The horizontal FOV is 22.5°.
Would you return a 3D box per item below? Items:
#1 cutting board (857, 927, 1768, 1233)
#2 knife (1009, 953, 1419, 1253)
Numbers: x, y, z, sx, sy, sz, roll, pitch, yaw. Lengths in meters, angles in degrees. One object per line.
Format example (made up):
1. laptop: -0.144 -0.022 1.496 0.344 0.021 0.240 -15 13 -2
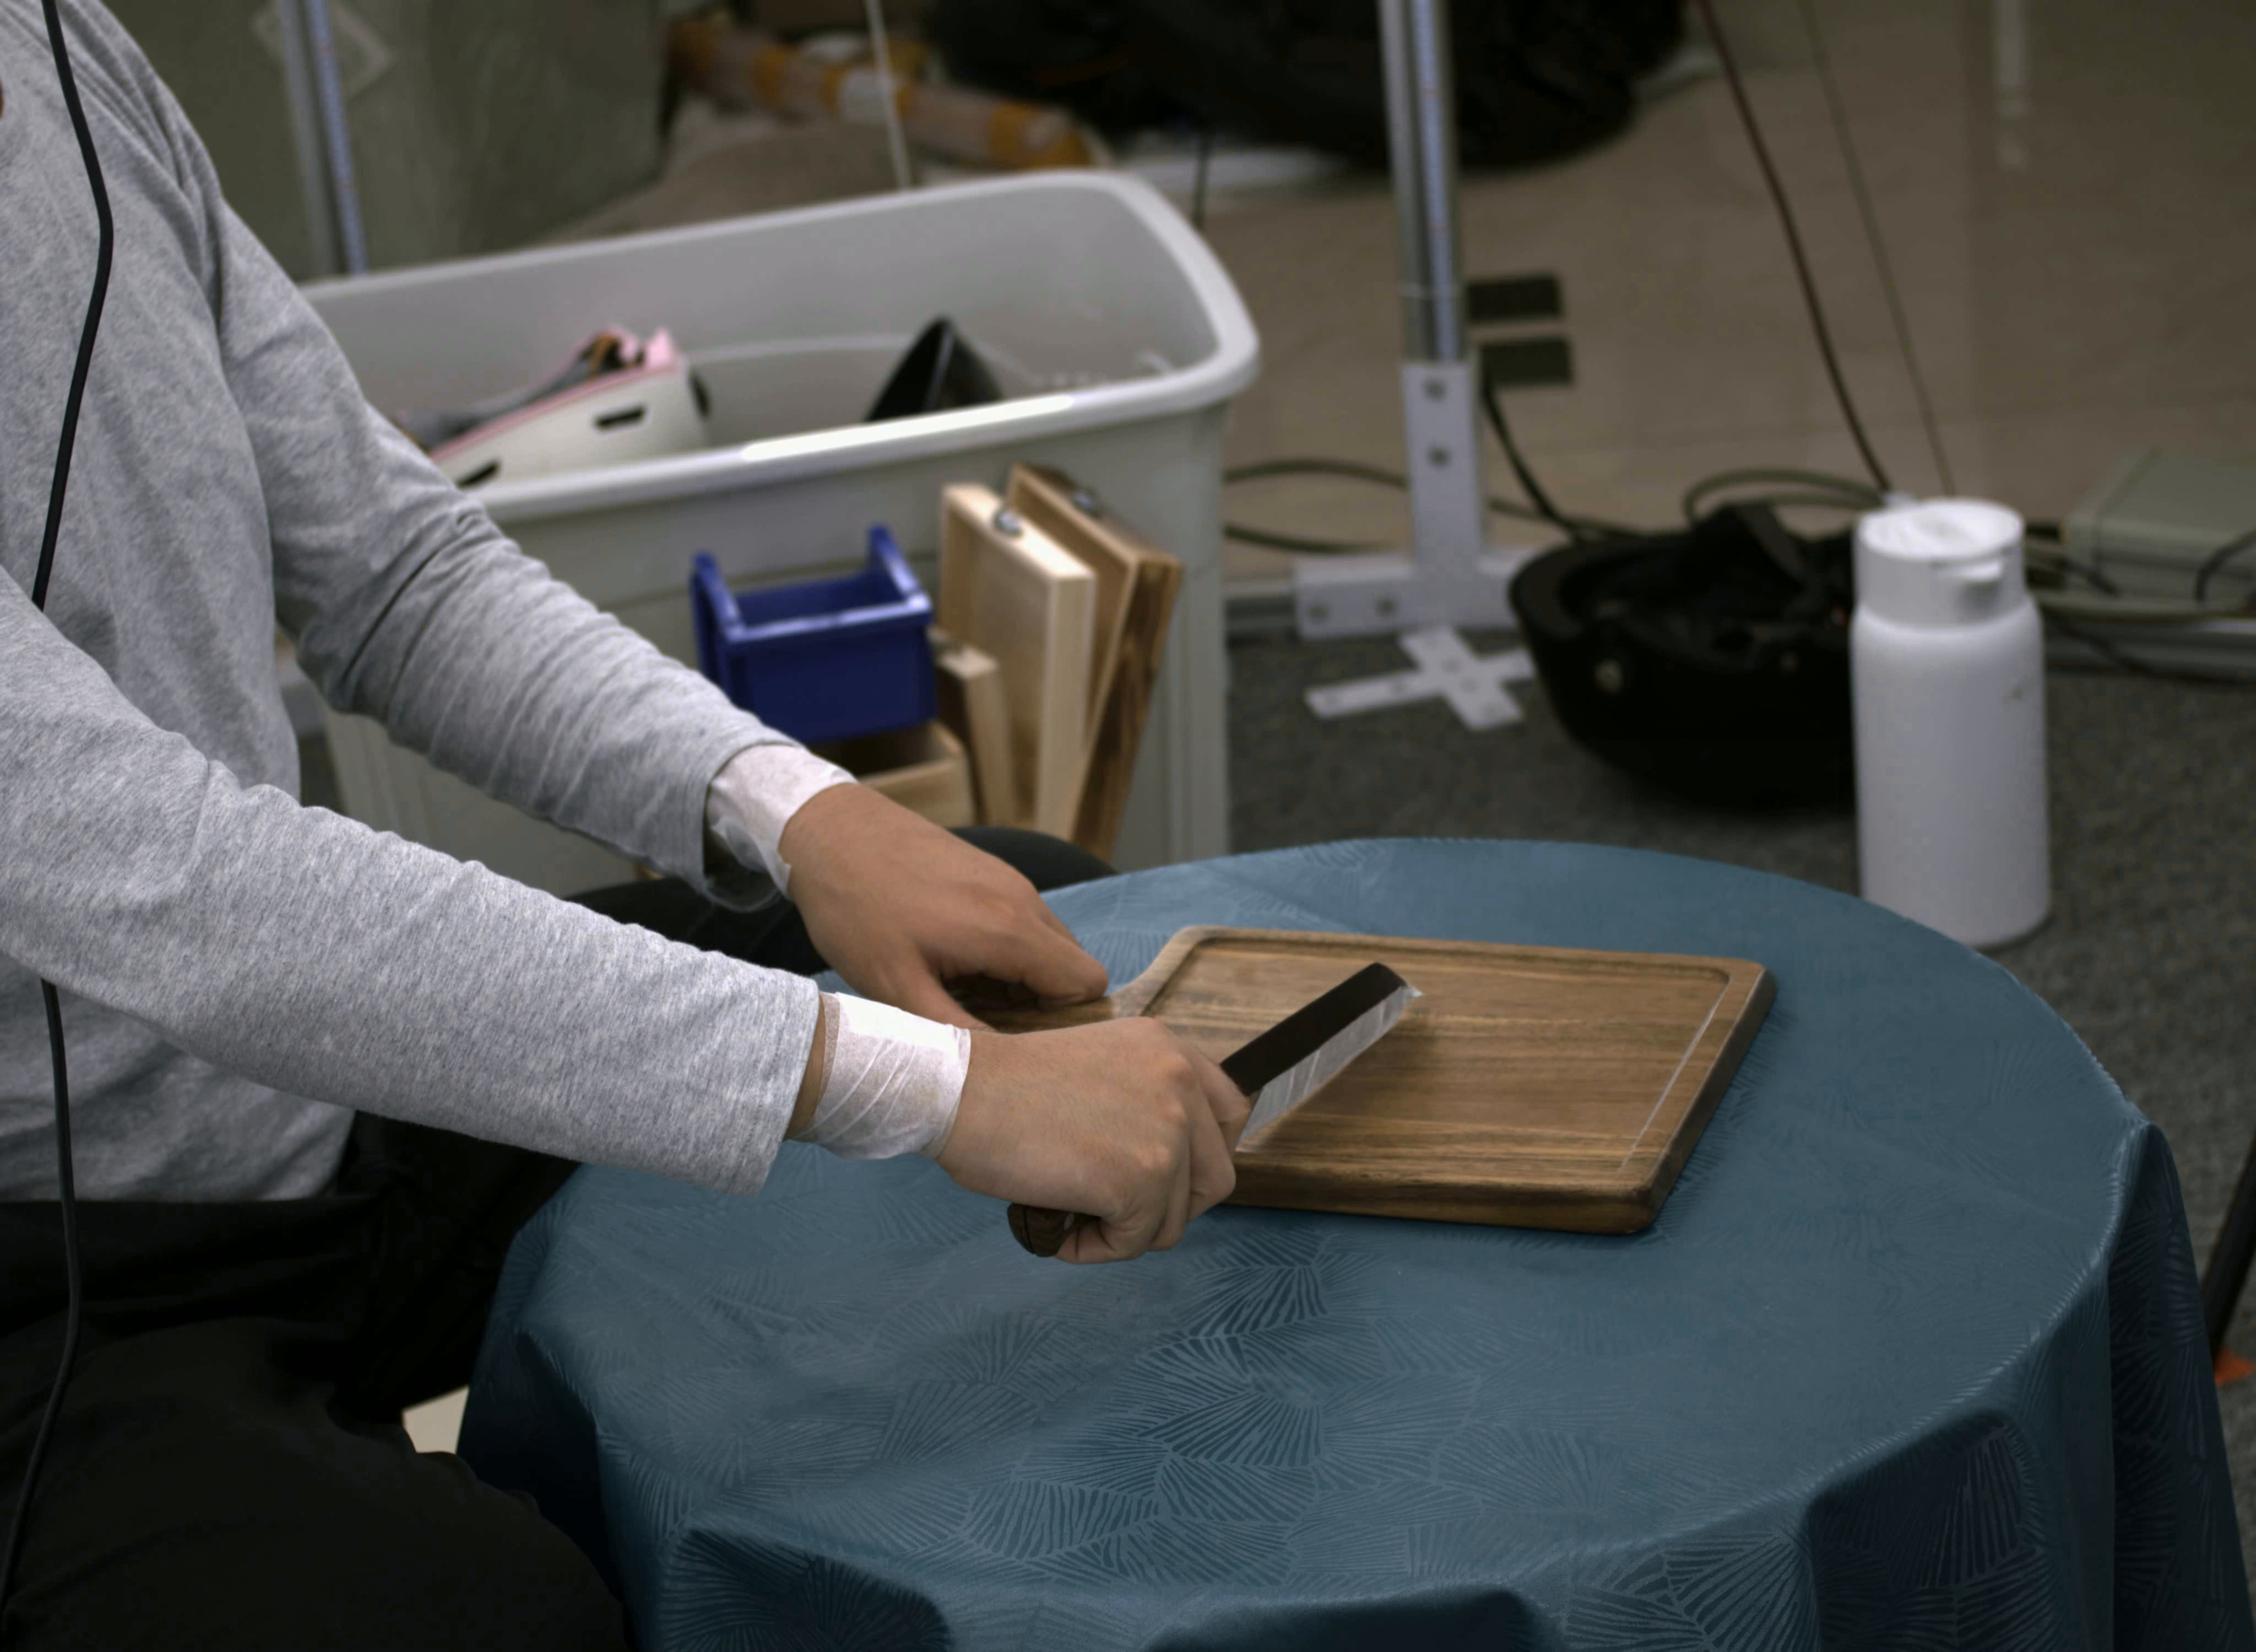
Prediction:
1. cutting board: 0.059 0.092 2.214 0.351 0.023 0.198 3 26 20
2. knife: 0.039 0.101 2.115 0.020 0.051 0.286 25 29 24
